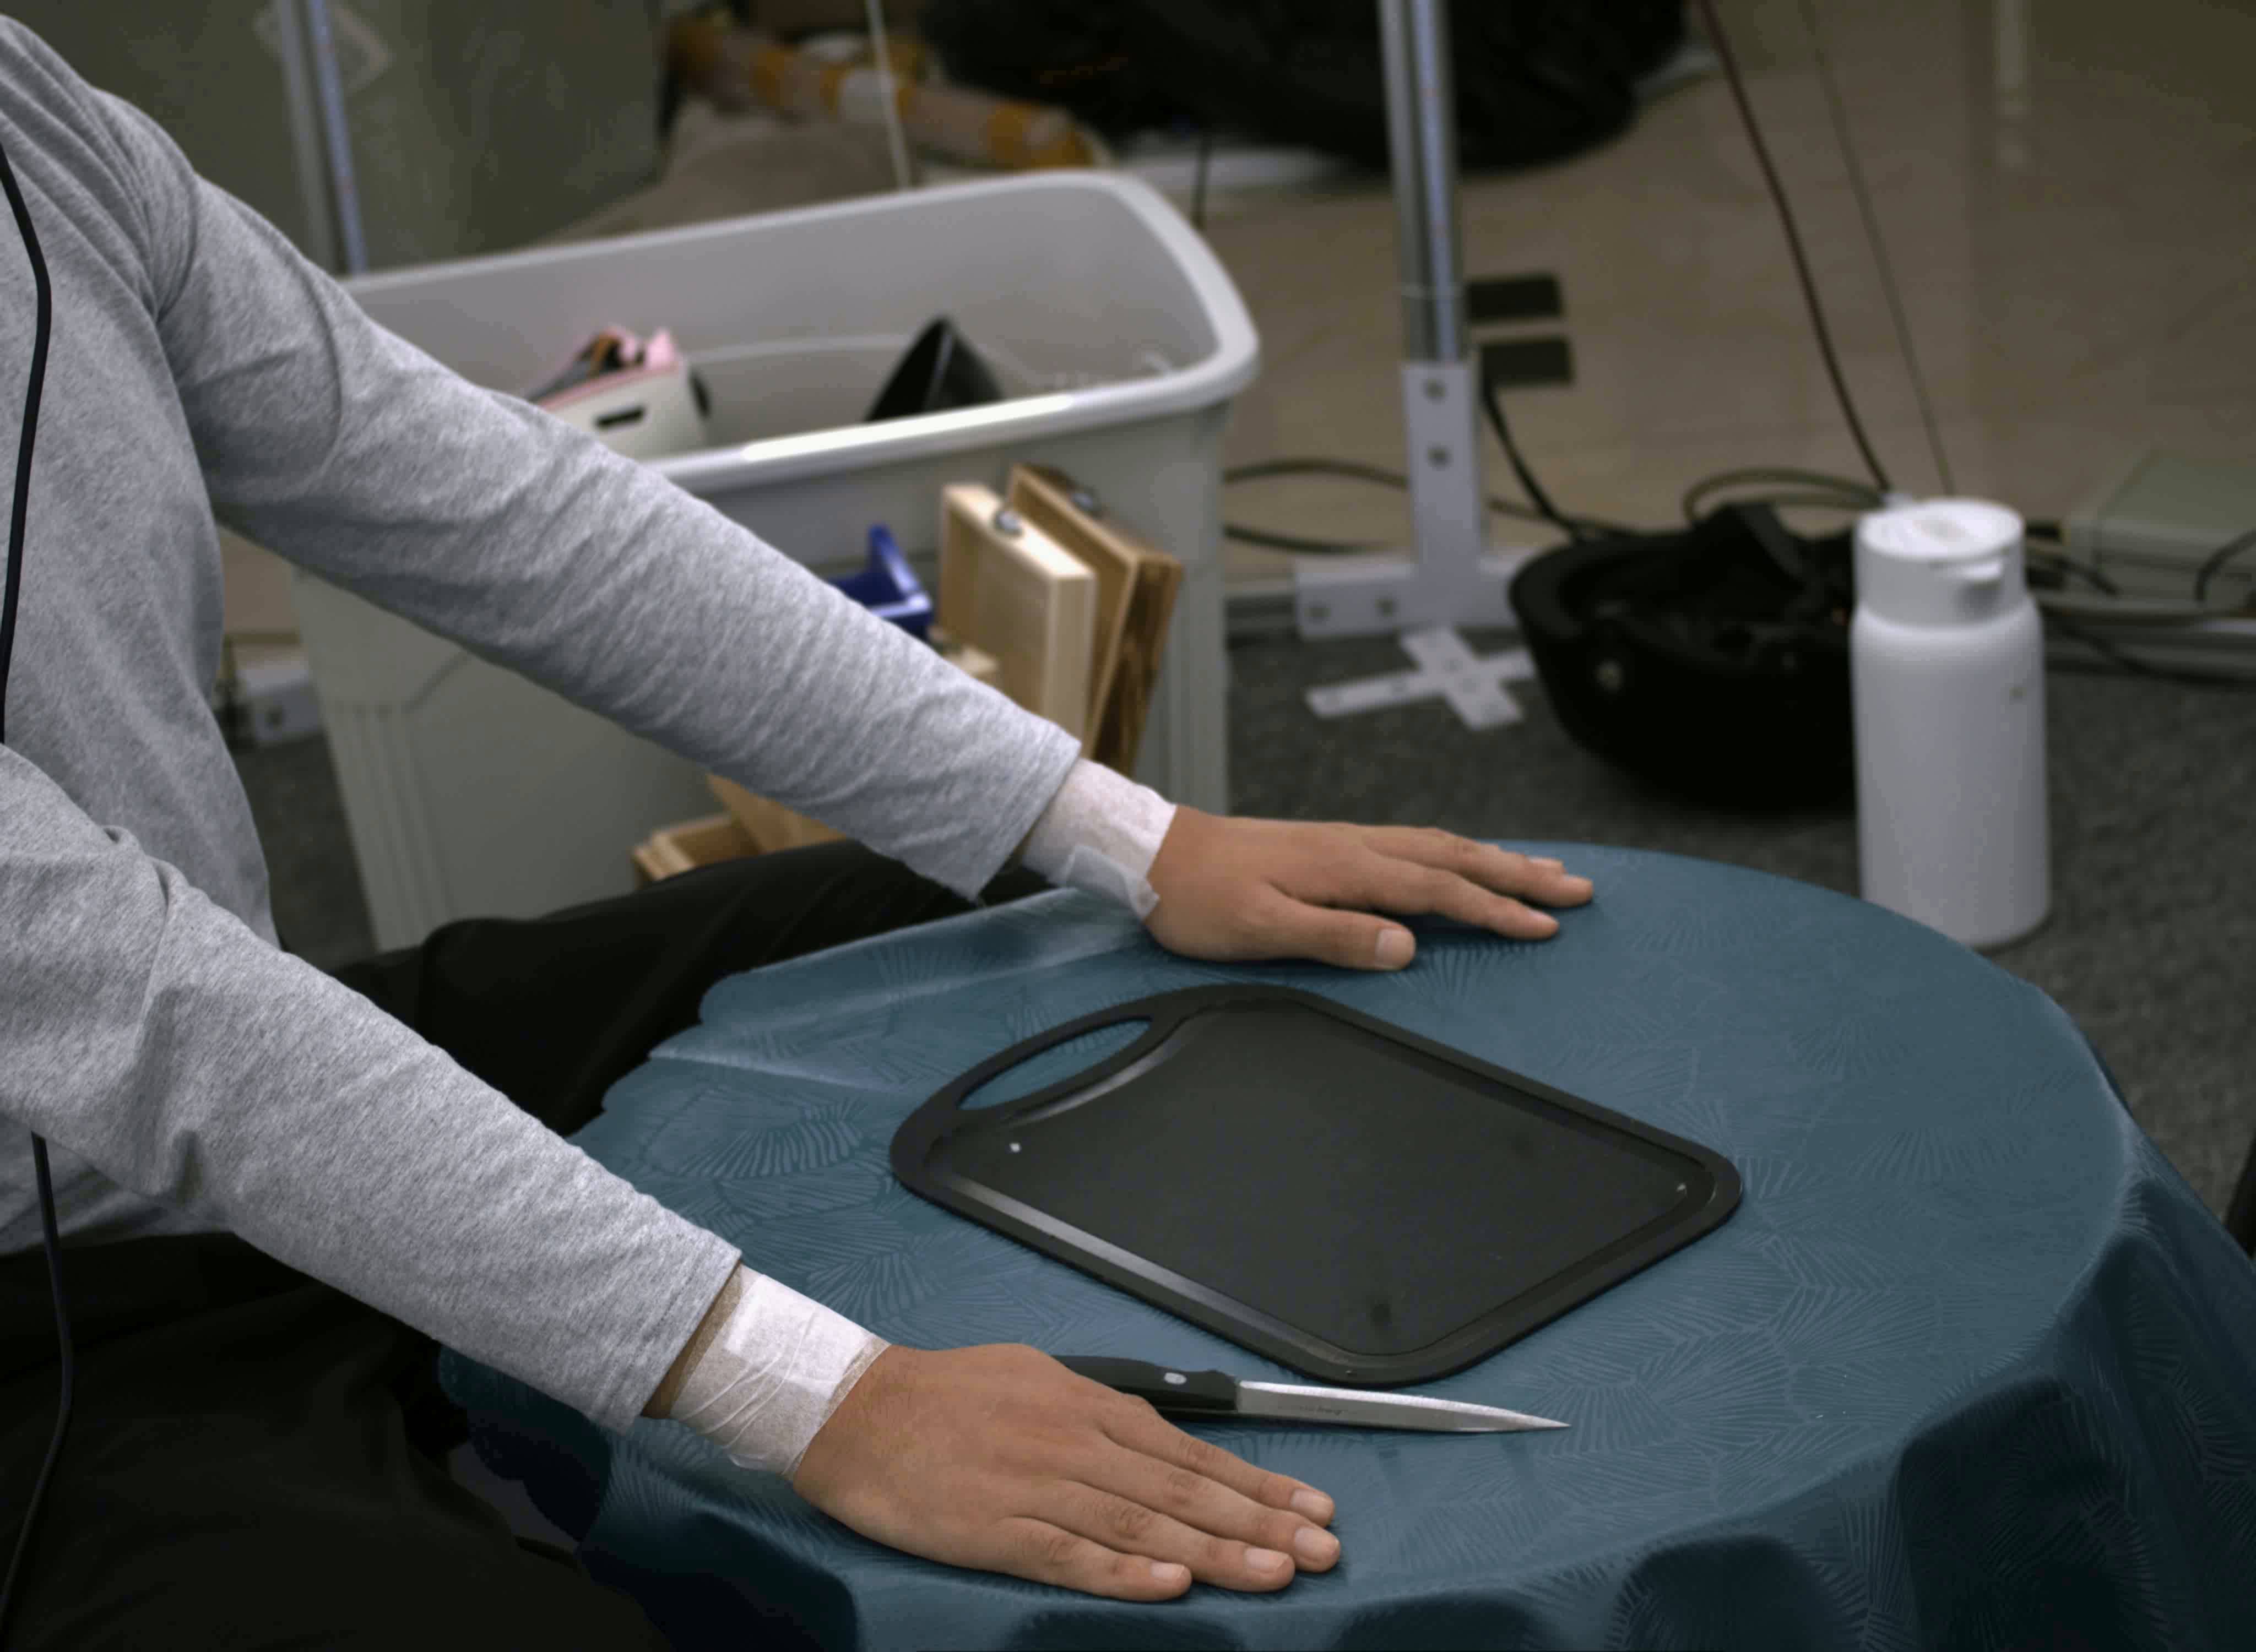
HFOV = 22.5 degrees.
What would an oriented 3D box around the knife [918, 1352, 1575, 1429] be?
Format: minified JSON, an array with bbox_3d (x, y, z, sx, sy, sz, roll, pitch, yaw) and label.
[{"bbox_3d":[0.039,0.201,1.994,0.237,0.016,0.024,3,29,13],"label":"knife"}]

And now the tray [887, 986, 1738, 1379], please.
[{"bbox_3d":[0.060,0.128,2.155,0.209,0.010,0.322,-25,30,-34],"label":"tray"}]
